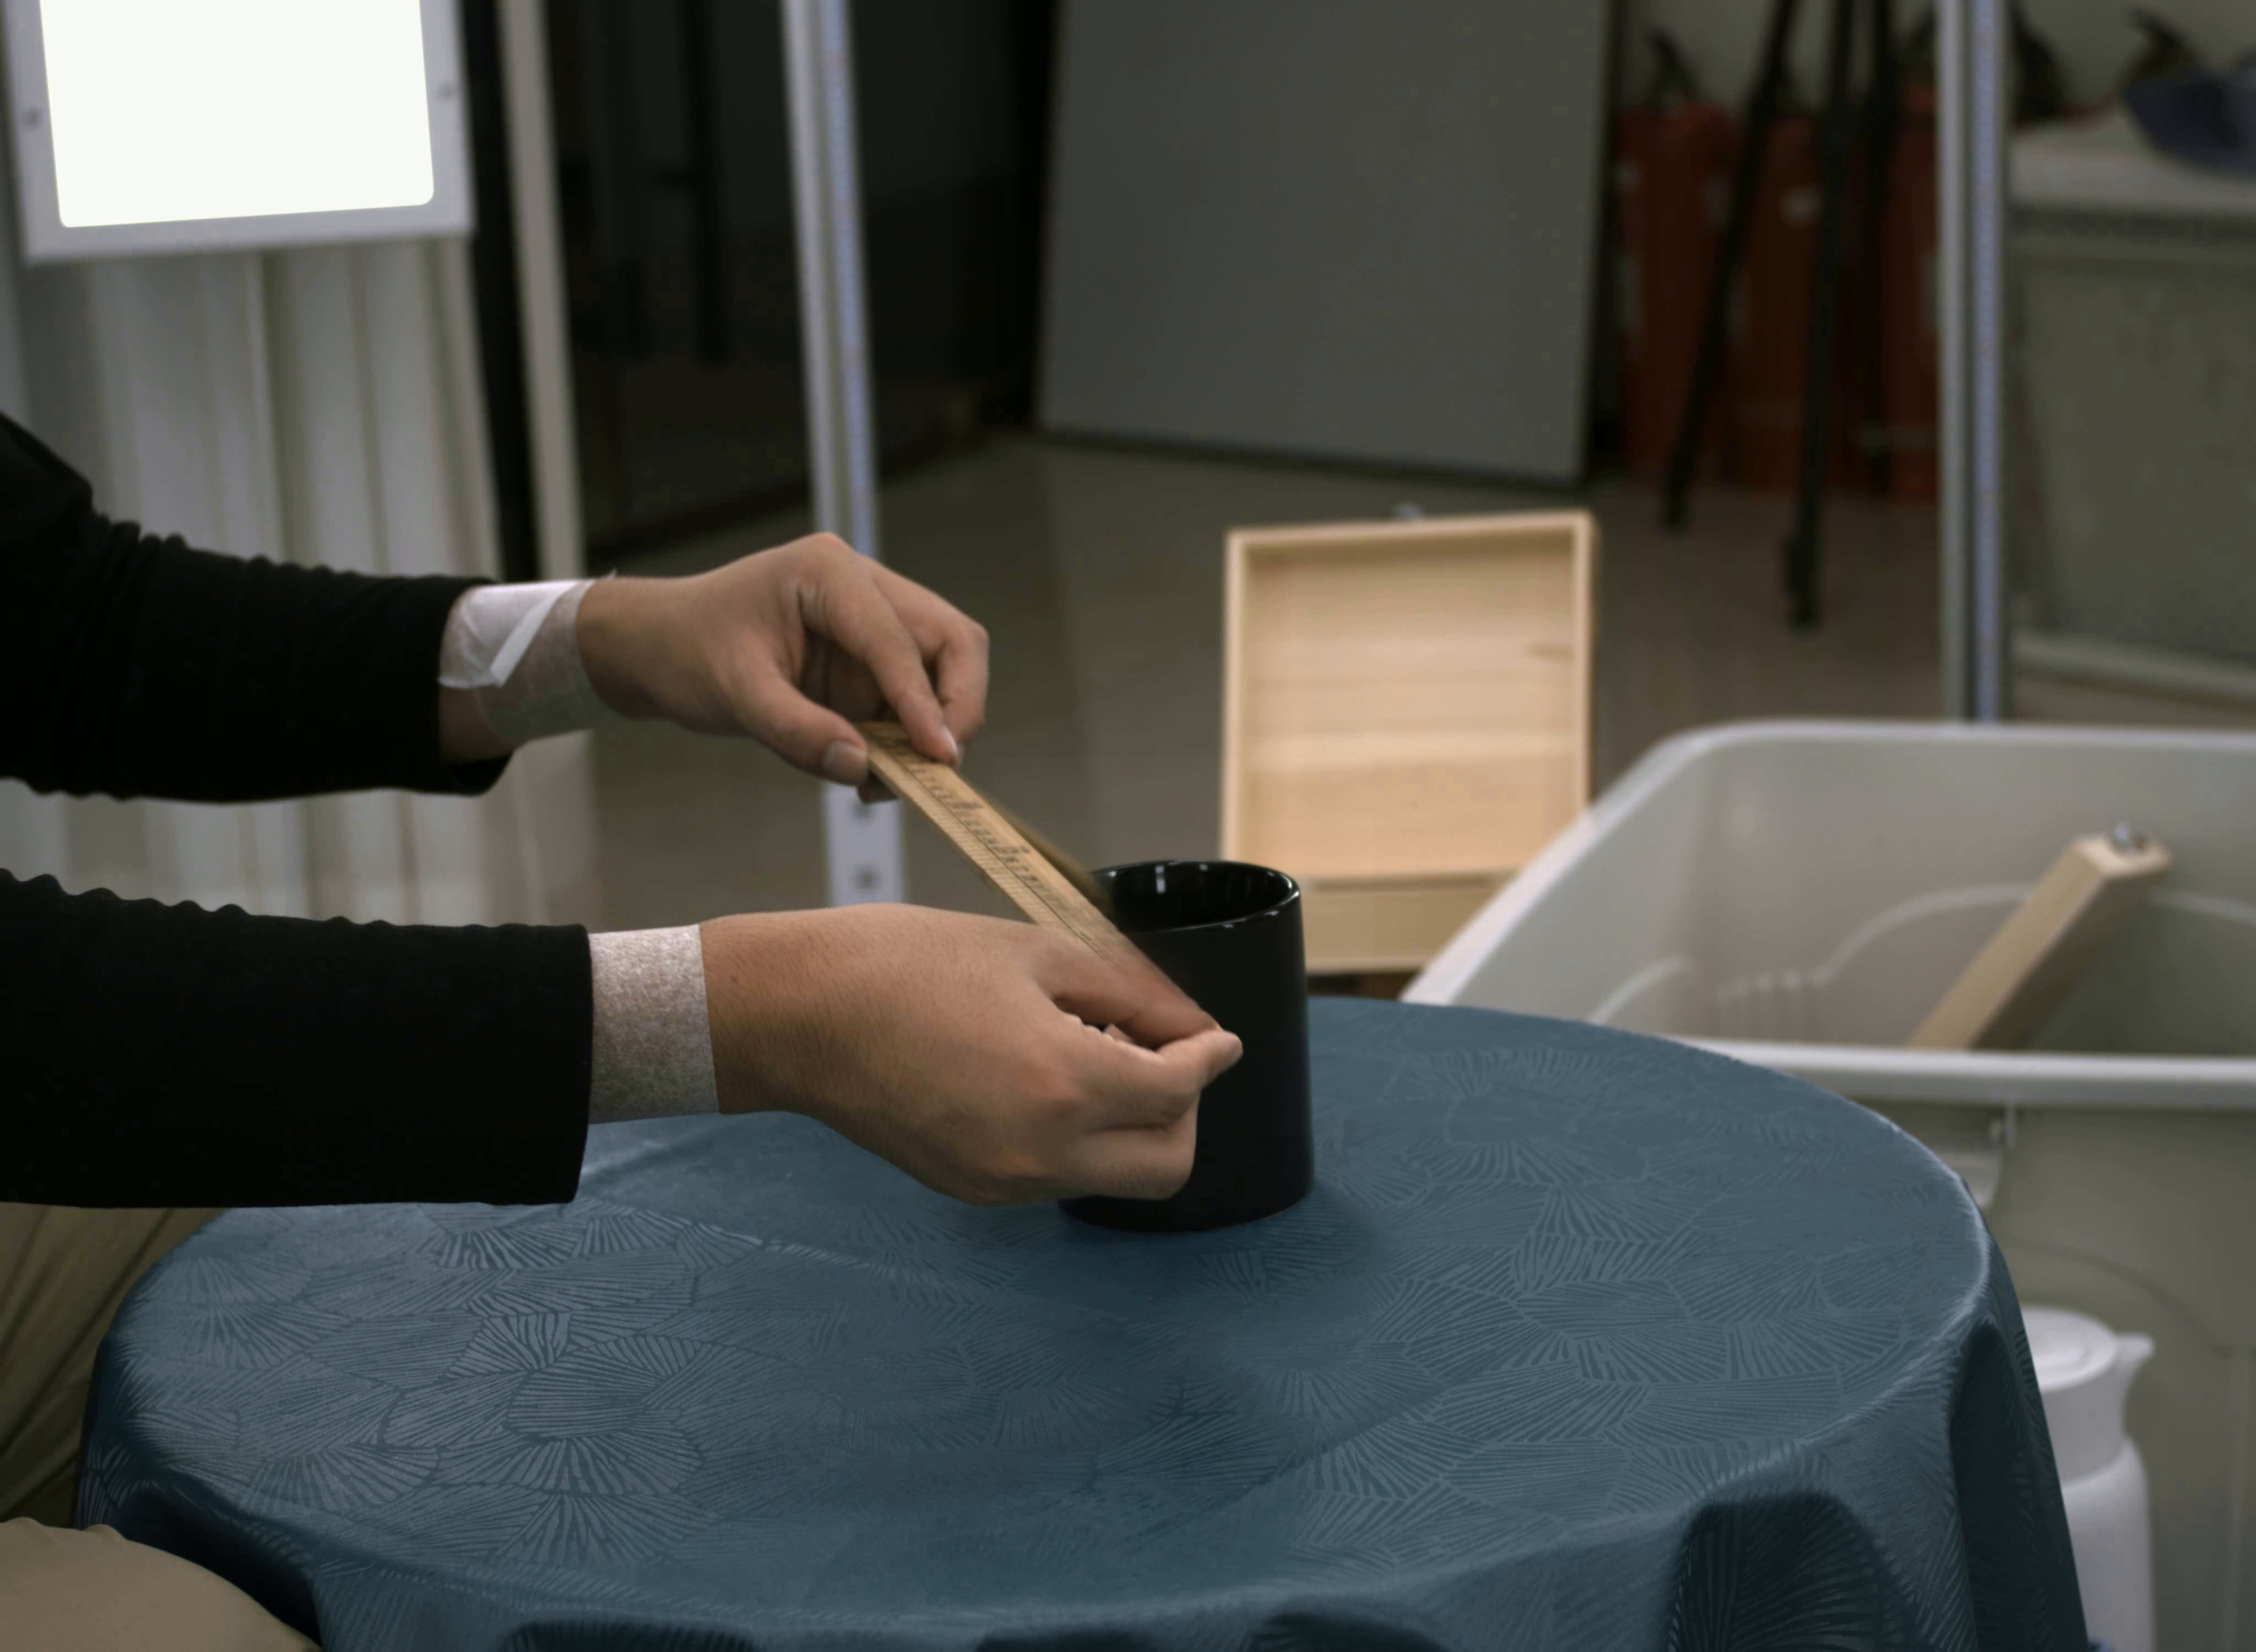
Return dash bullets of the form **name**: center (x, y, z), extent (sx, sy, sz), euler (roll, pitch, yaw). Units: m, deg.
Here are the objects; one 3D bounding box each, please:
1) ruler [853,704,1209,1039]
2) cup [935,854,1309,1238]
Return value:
- **ruler**: center (-0.036, 0.009, 1.732), extent (0.027, 0.022, 0.335), euler (4, 16, -19)
- **cup**: center (-0.003, 0.071, 1.756), extent (0.122, 0.106, 0.088), euler (-1, 16, 9)
